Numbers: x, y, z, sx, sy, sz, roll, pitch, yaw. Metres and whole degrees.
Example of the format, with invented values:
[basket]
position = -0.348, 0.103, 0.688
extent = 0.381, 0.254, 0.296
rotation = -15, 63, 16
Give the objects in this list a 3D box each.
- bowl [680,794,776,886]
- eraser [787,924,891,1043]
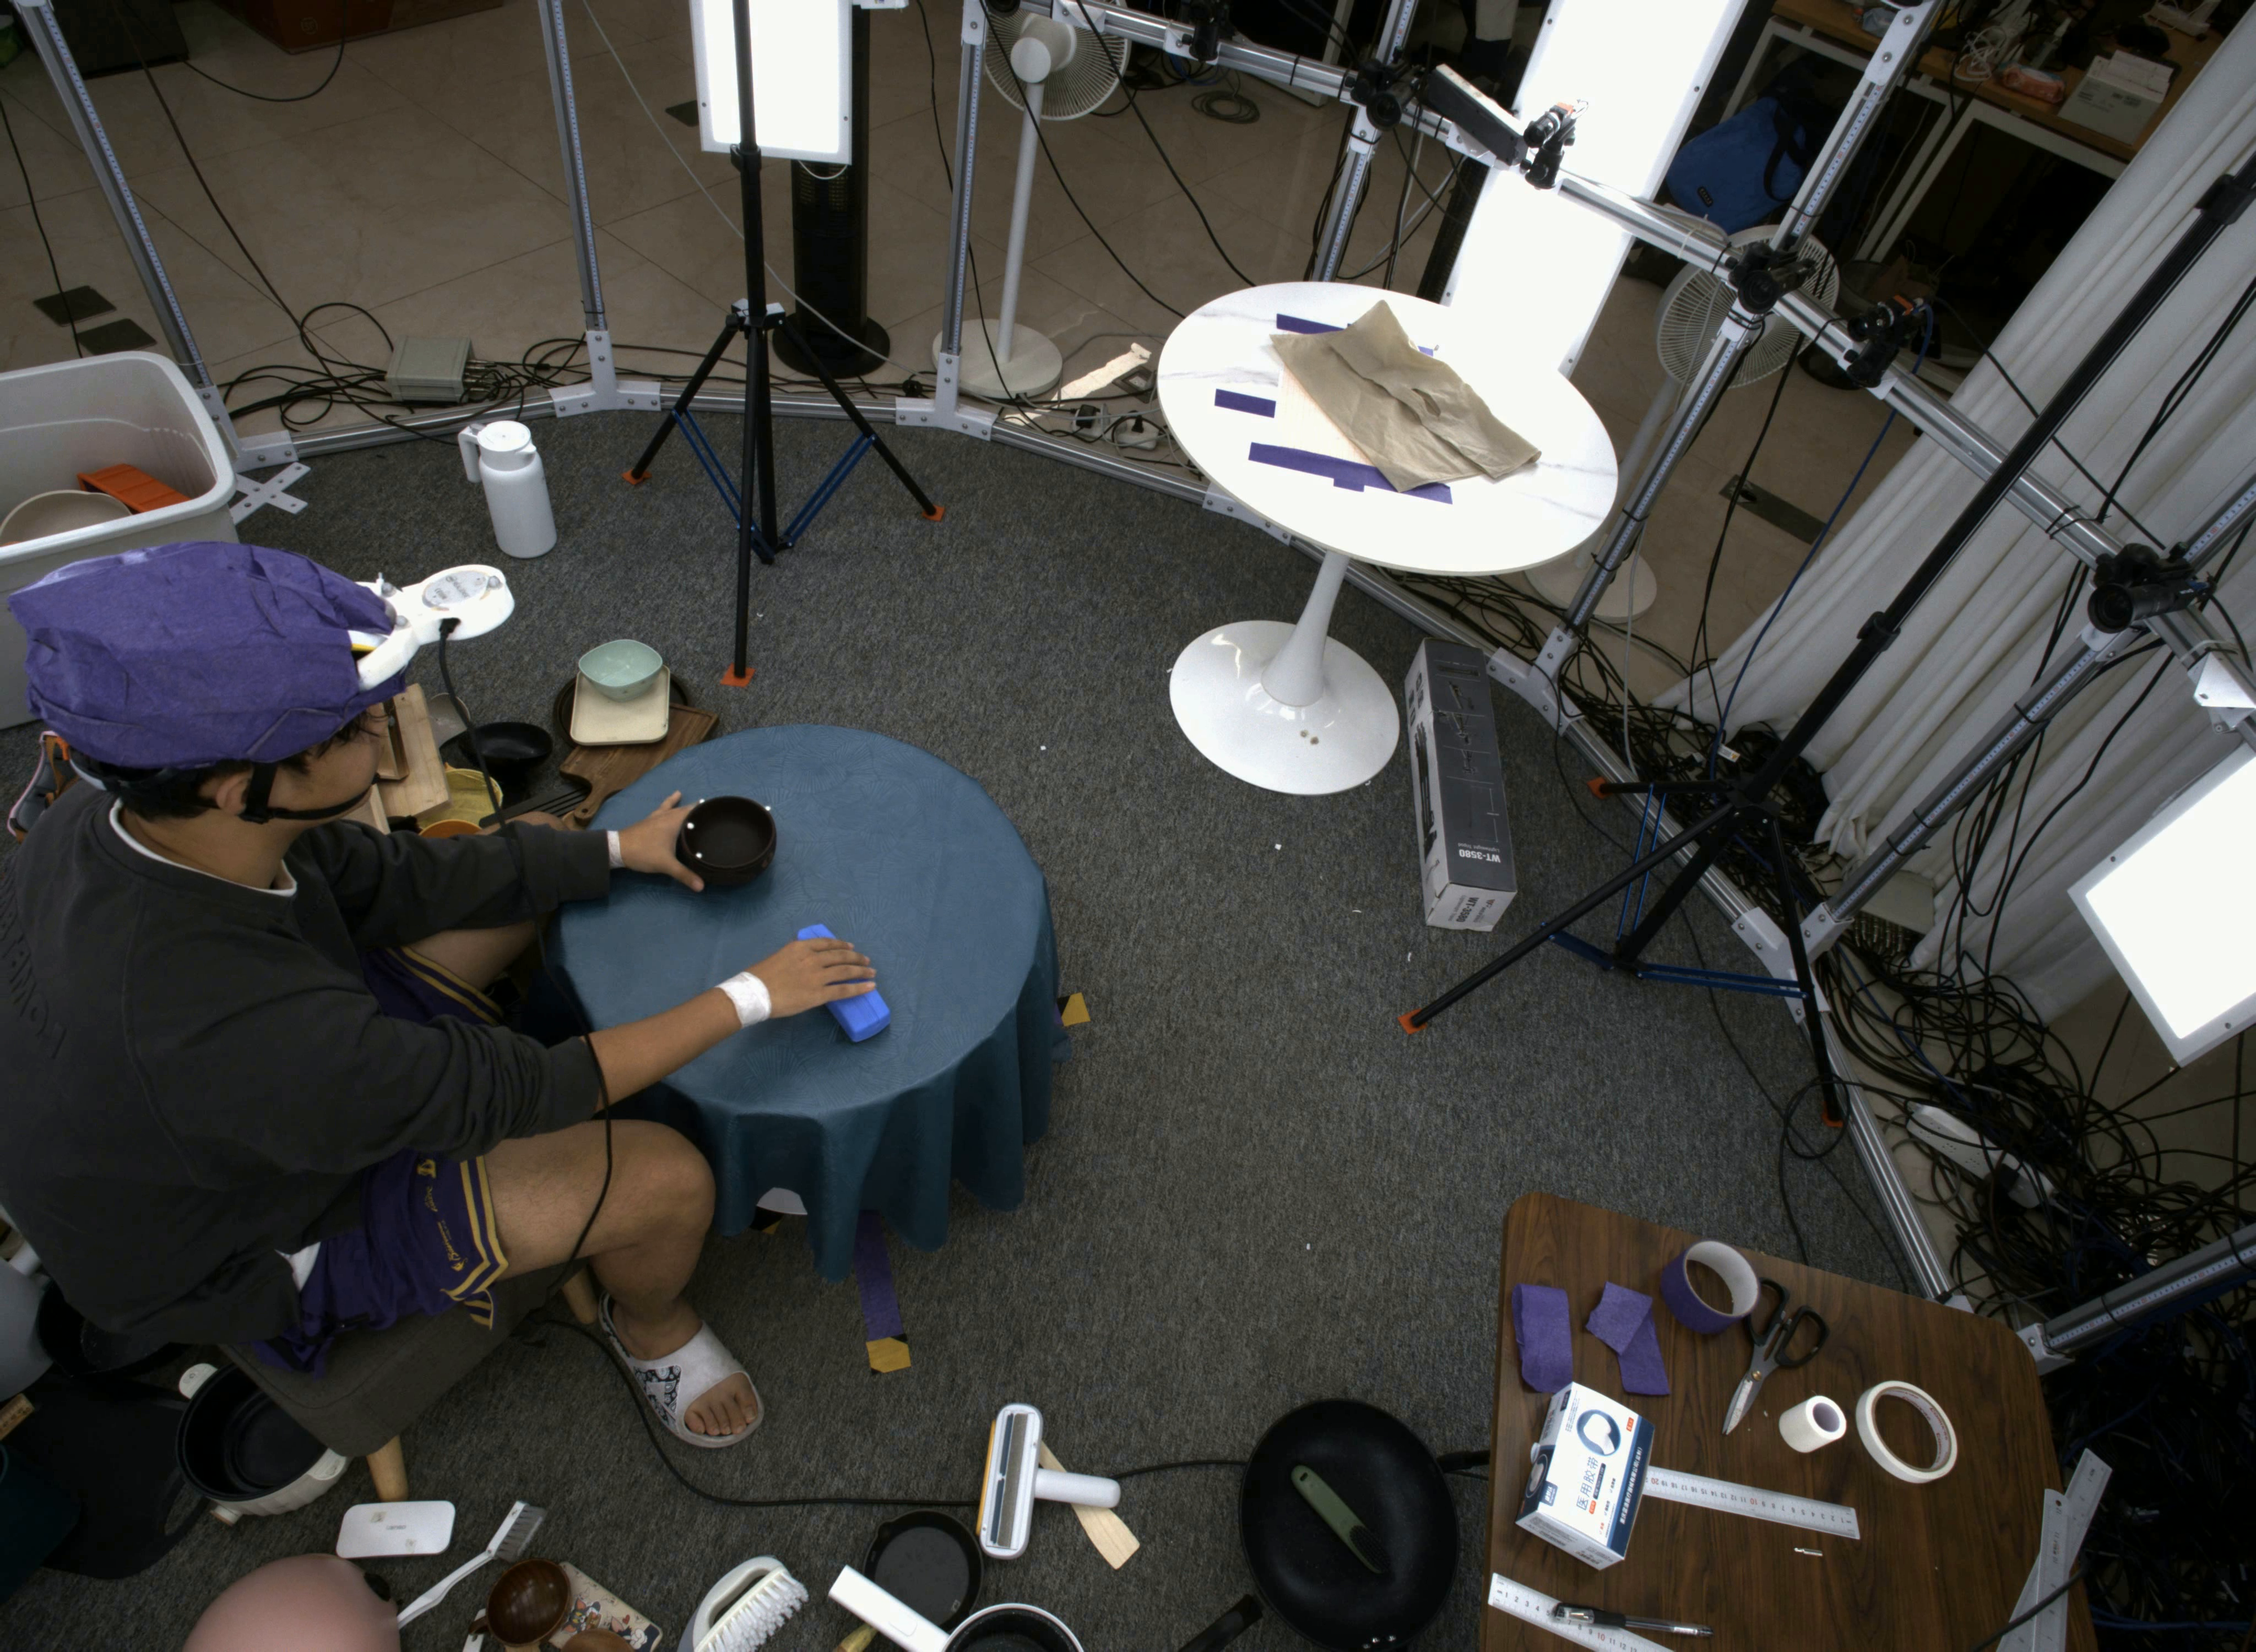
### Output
[bowl]
position = -0.507, 0.024, 1.642
extent = 0.118, 0.071, 0.116
rotation = 8, 53, -9
[eraser]
position = -0.352, 0.184, 1.580
extent = 0.054, 0.048, 0.158
rotation = -30, 65, -33
